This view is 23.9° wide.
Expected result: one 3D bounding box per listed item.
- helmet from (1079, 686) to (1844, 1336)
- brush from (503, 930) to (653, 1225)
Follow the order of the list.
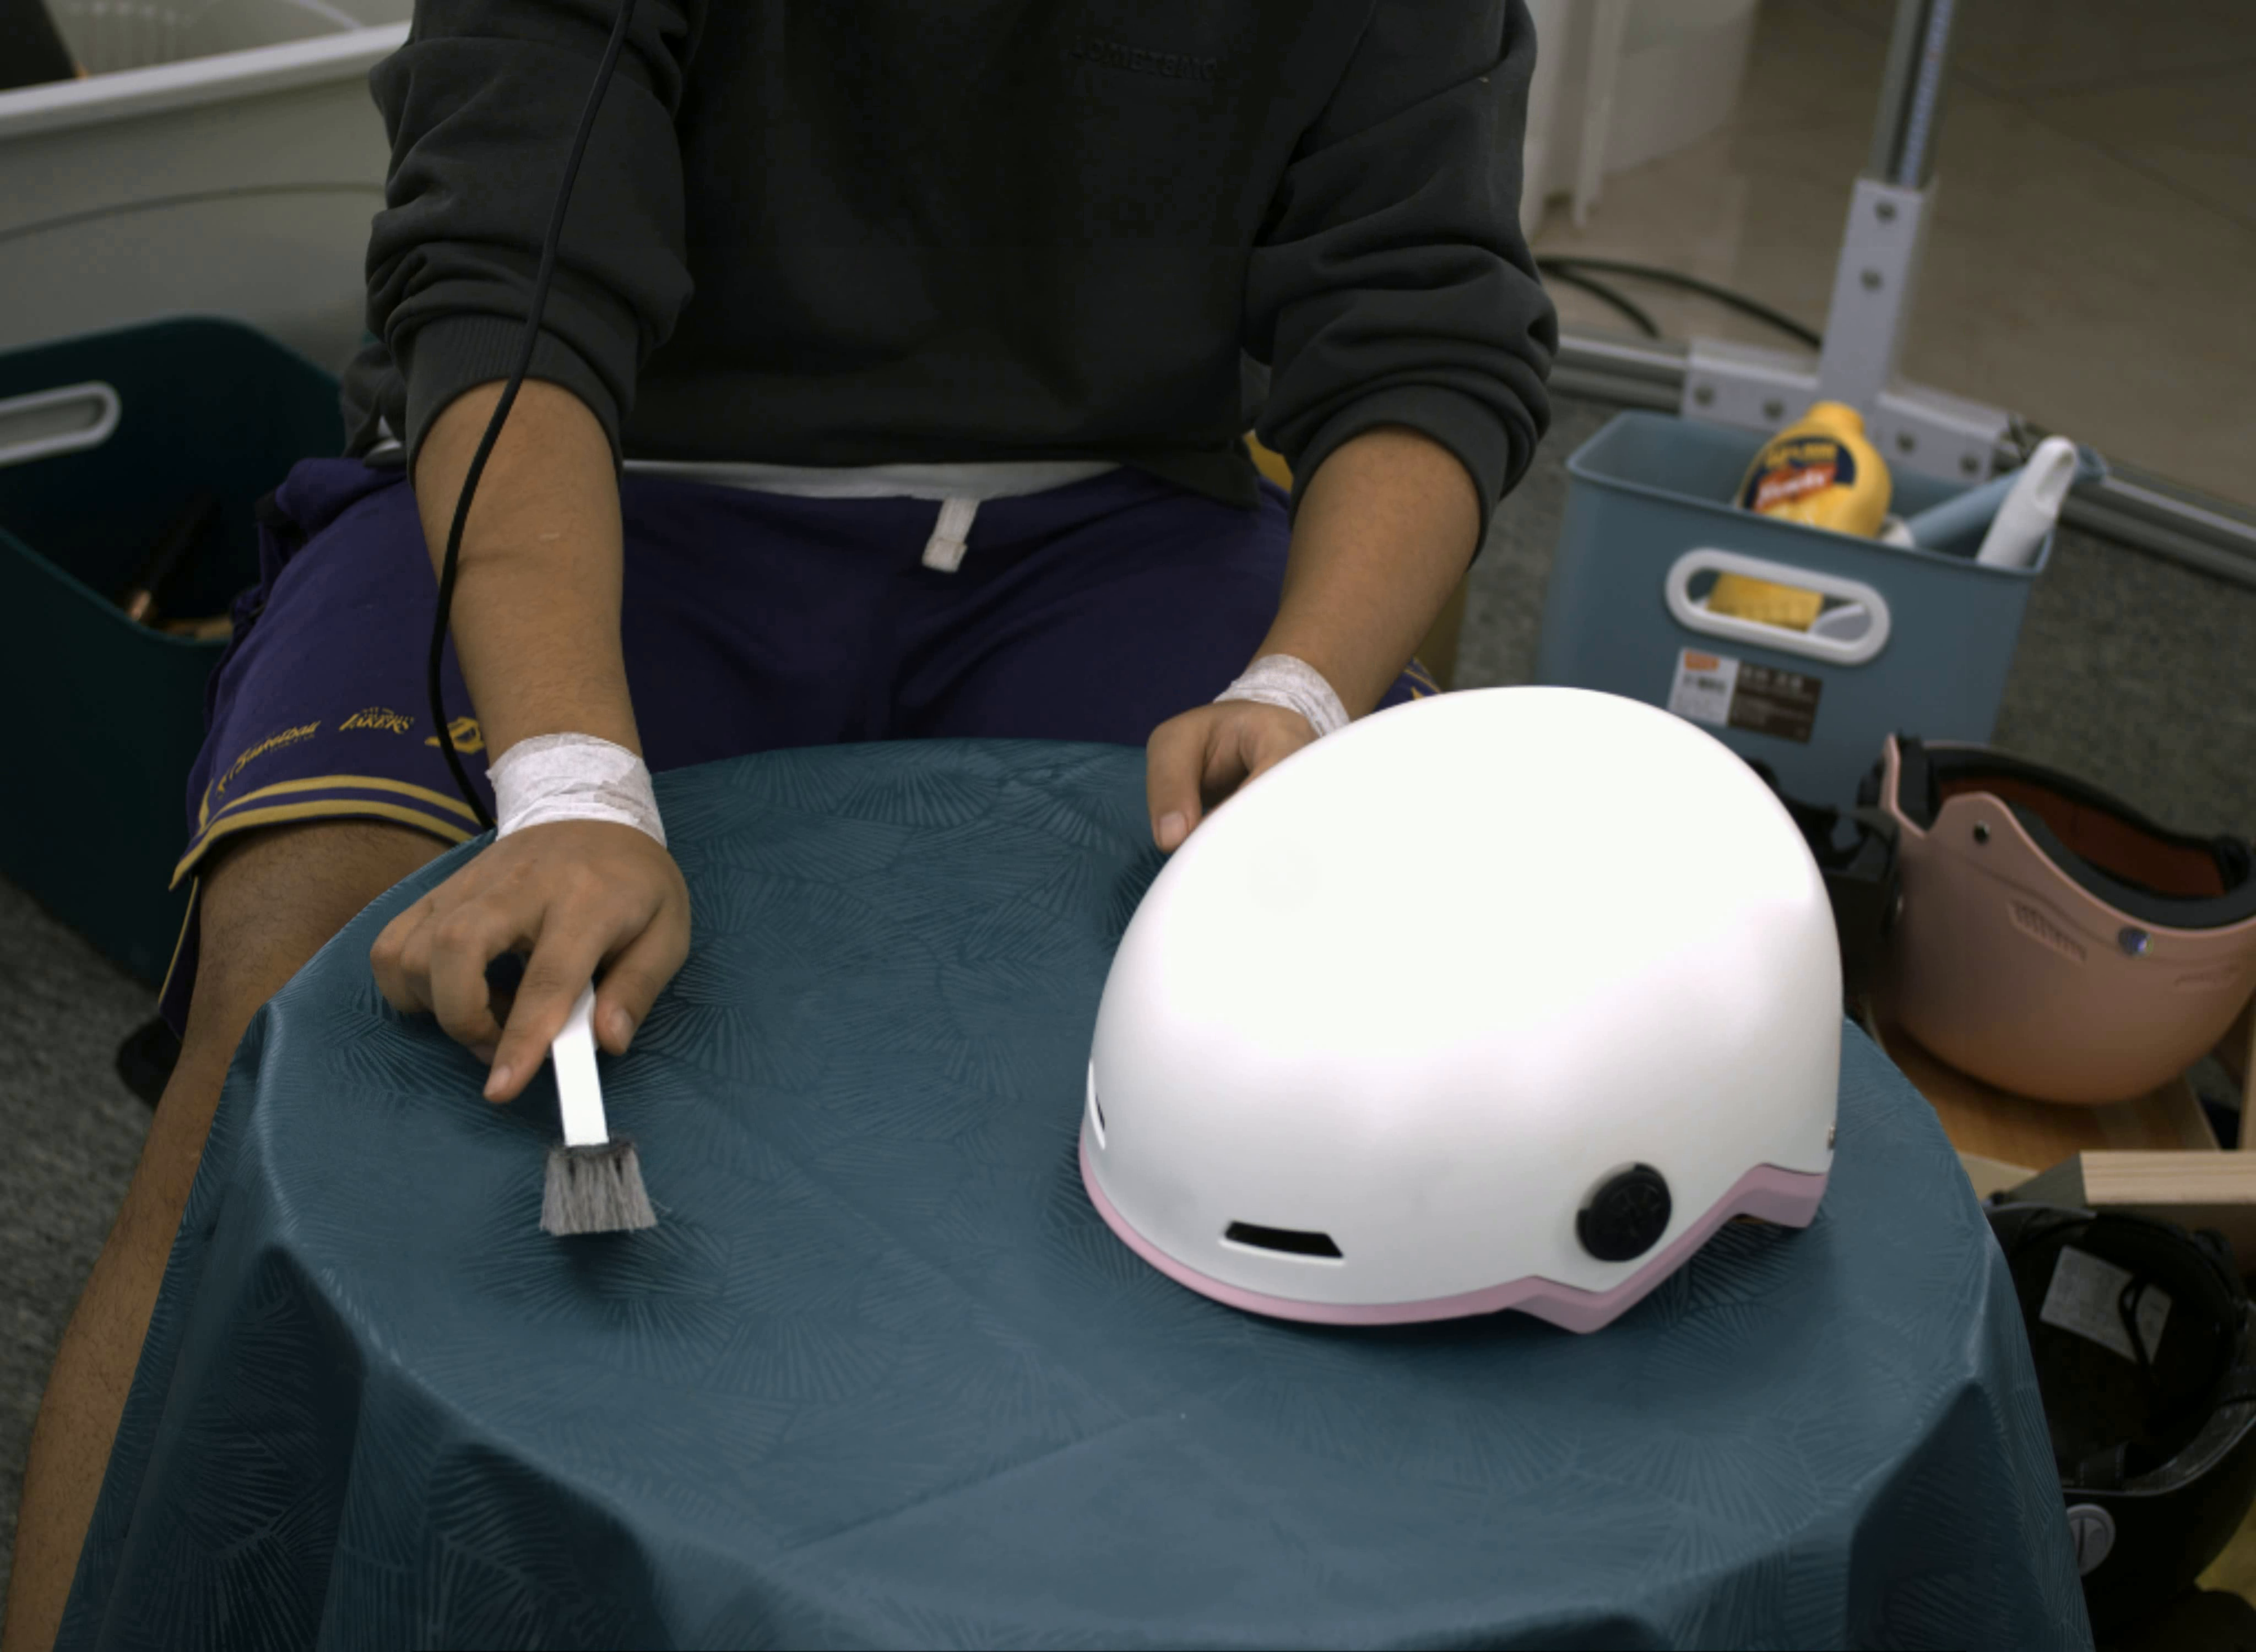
[{"bbox_3d":[0.120,0.047,1.799,0.267,0.166,0.239,-12,33,-32],"label":"helmet"},{"bbox_3d":[-0.190,0.088,1.803,0.034,0.050,0.245,-5,15,-10],"label":"brush"}]
